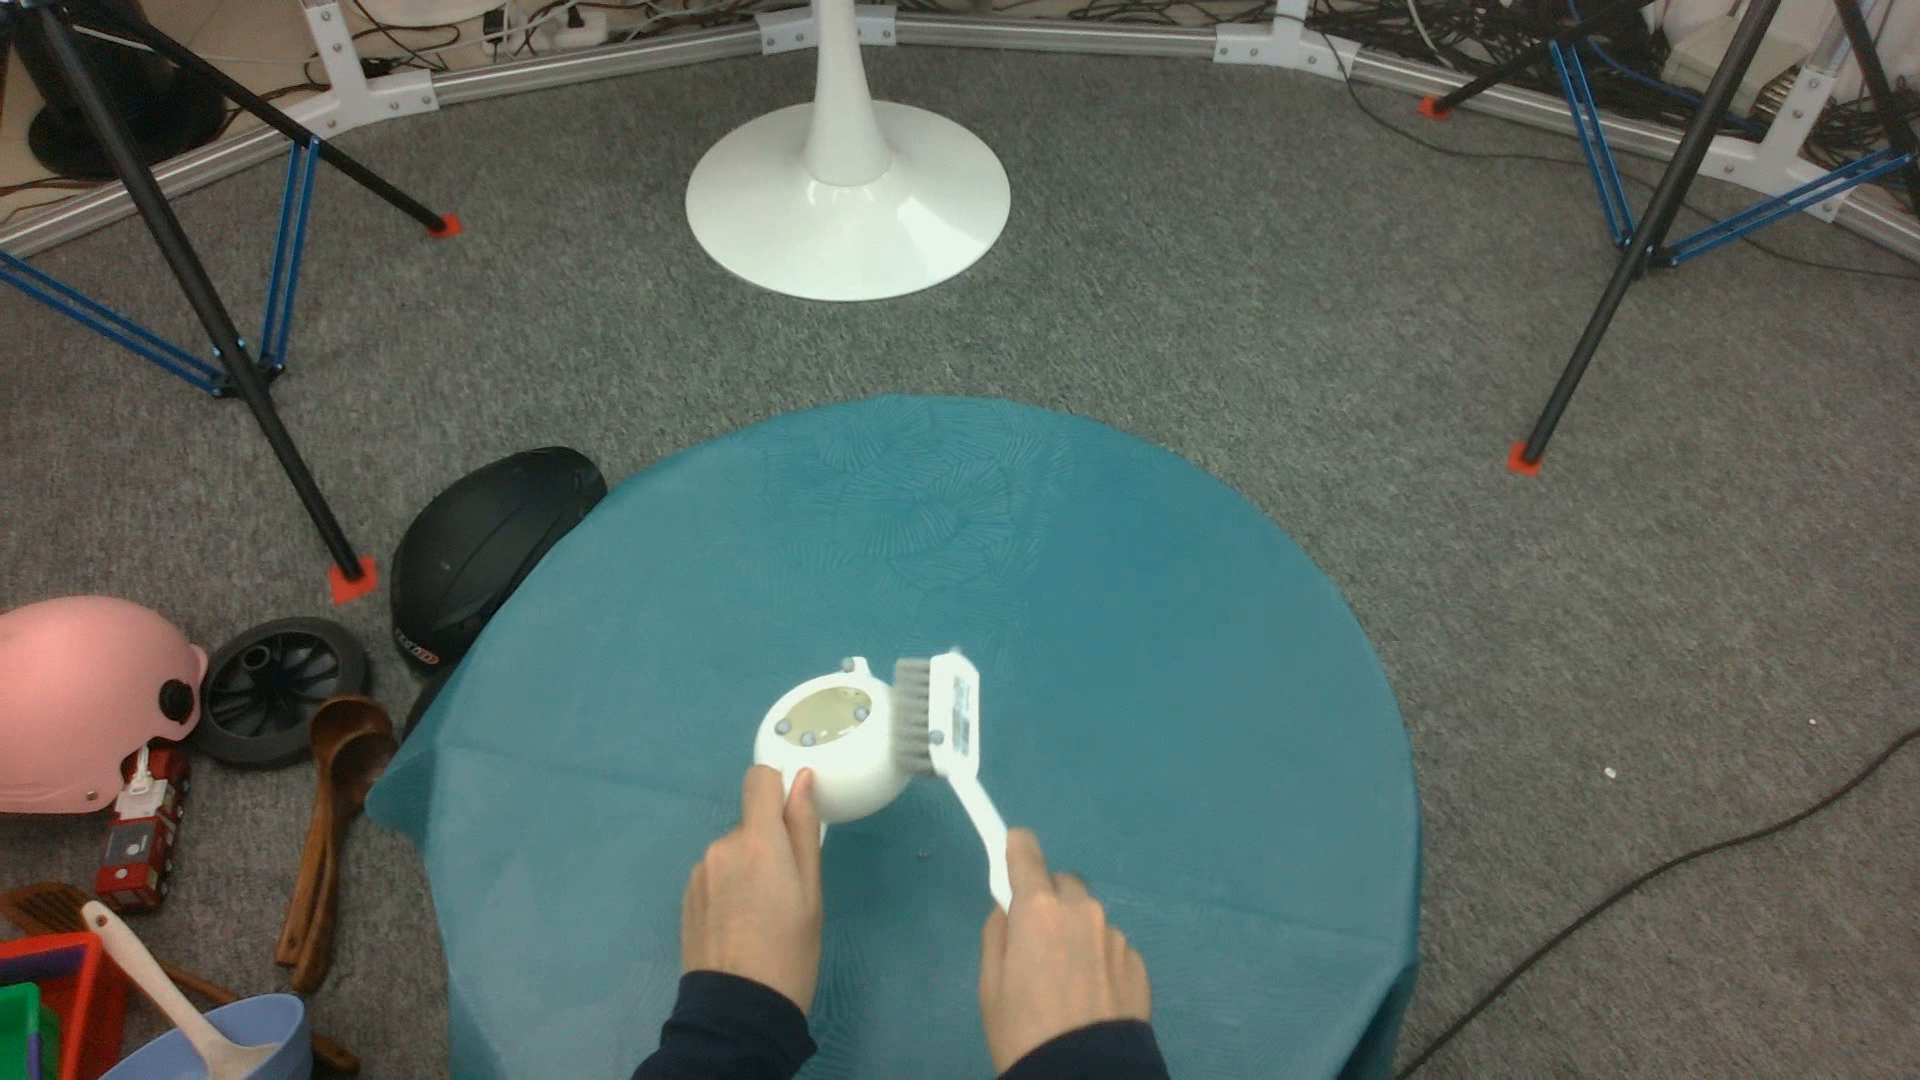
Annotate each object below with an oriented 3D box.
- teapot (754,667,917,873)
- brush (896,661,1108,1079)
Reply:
[{"bbox_3d":[-0.072,0.128,0.766,0.093,0.056,0.128,-1,34,17],"label":"teapot"},{"bbox_3d":[0.013,0.164,0.698,0.050,0.034,0.244,-29,53,13],"label":"brush"}]
